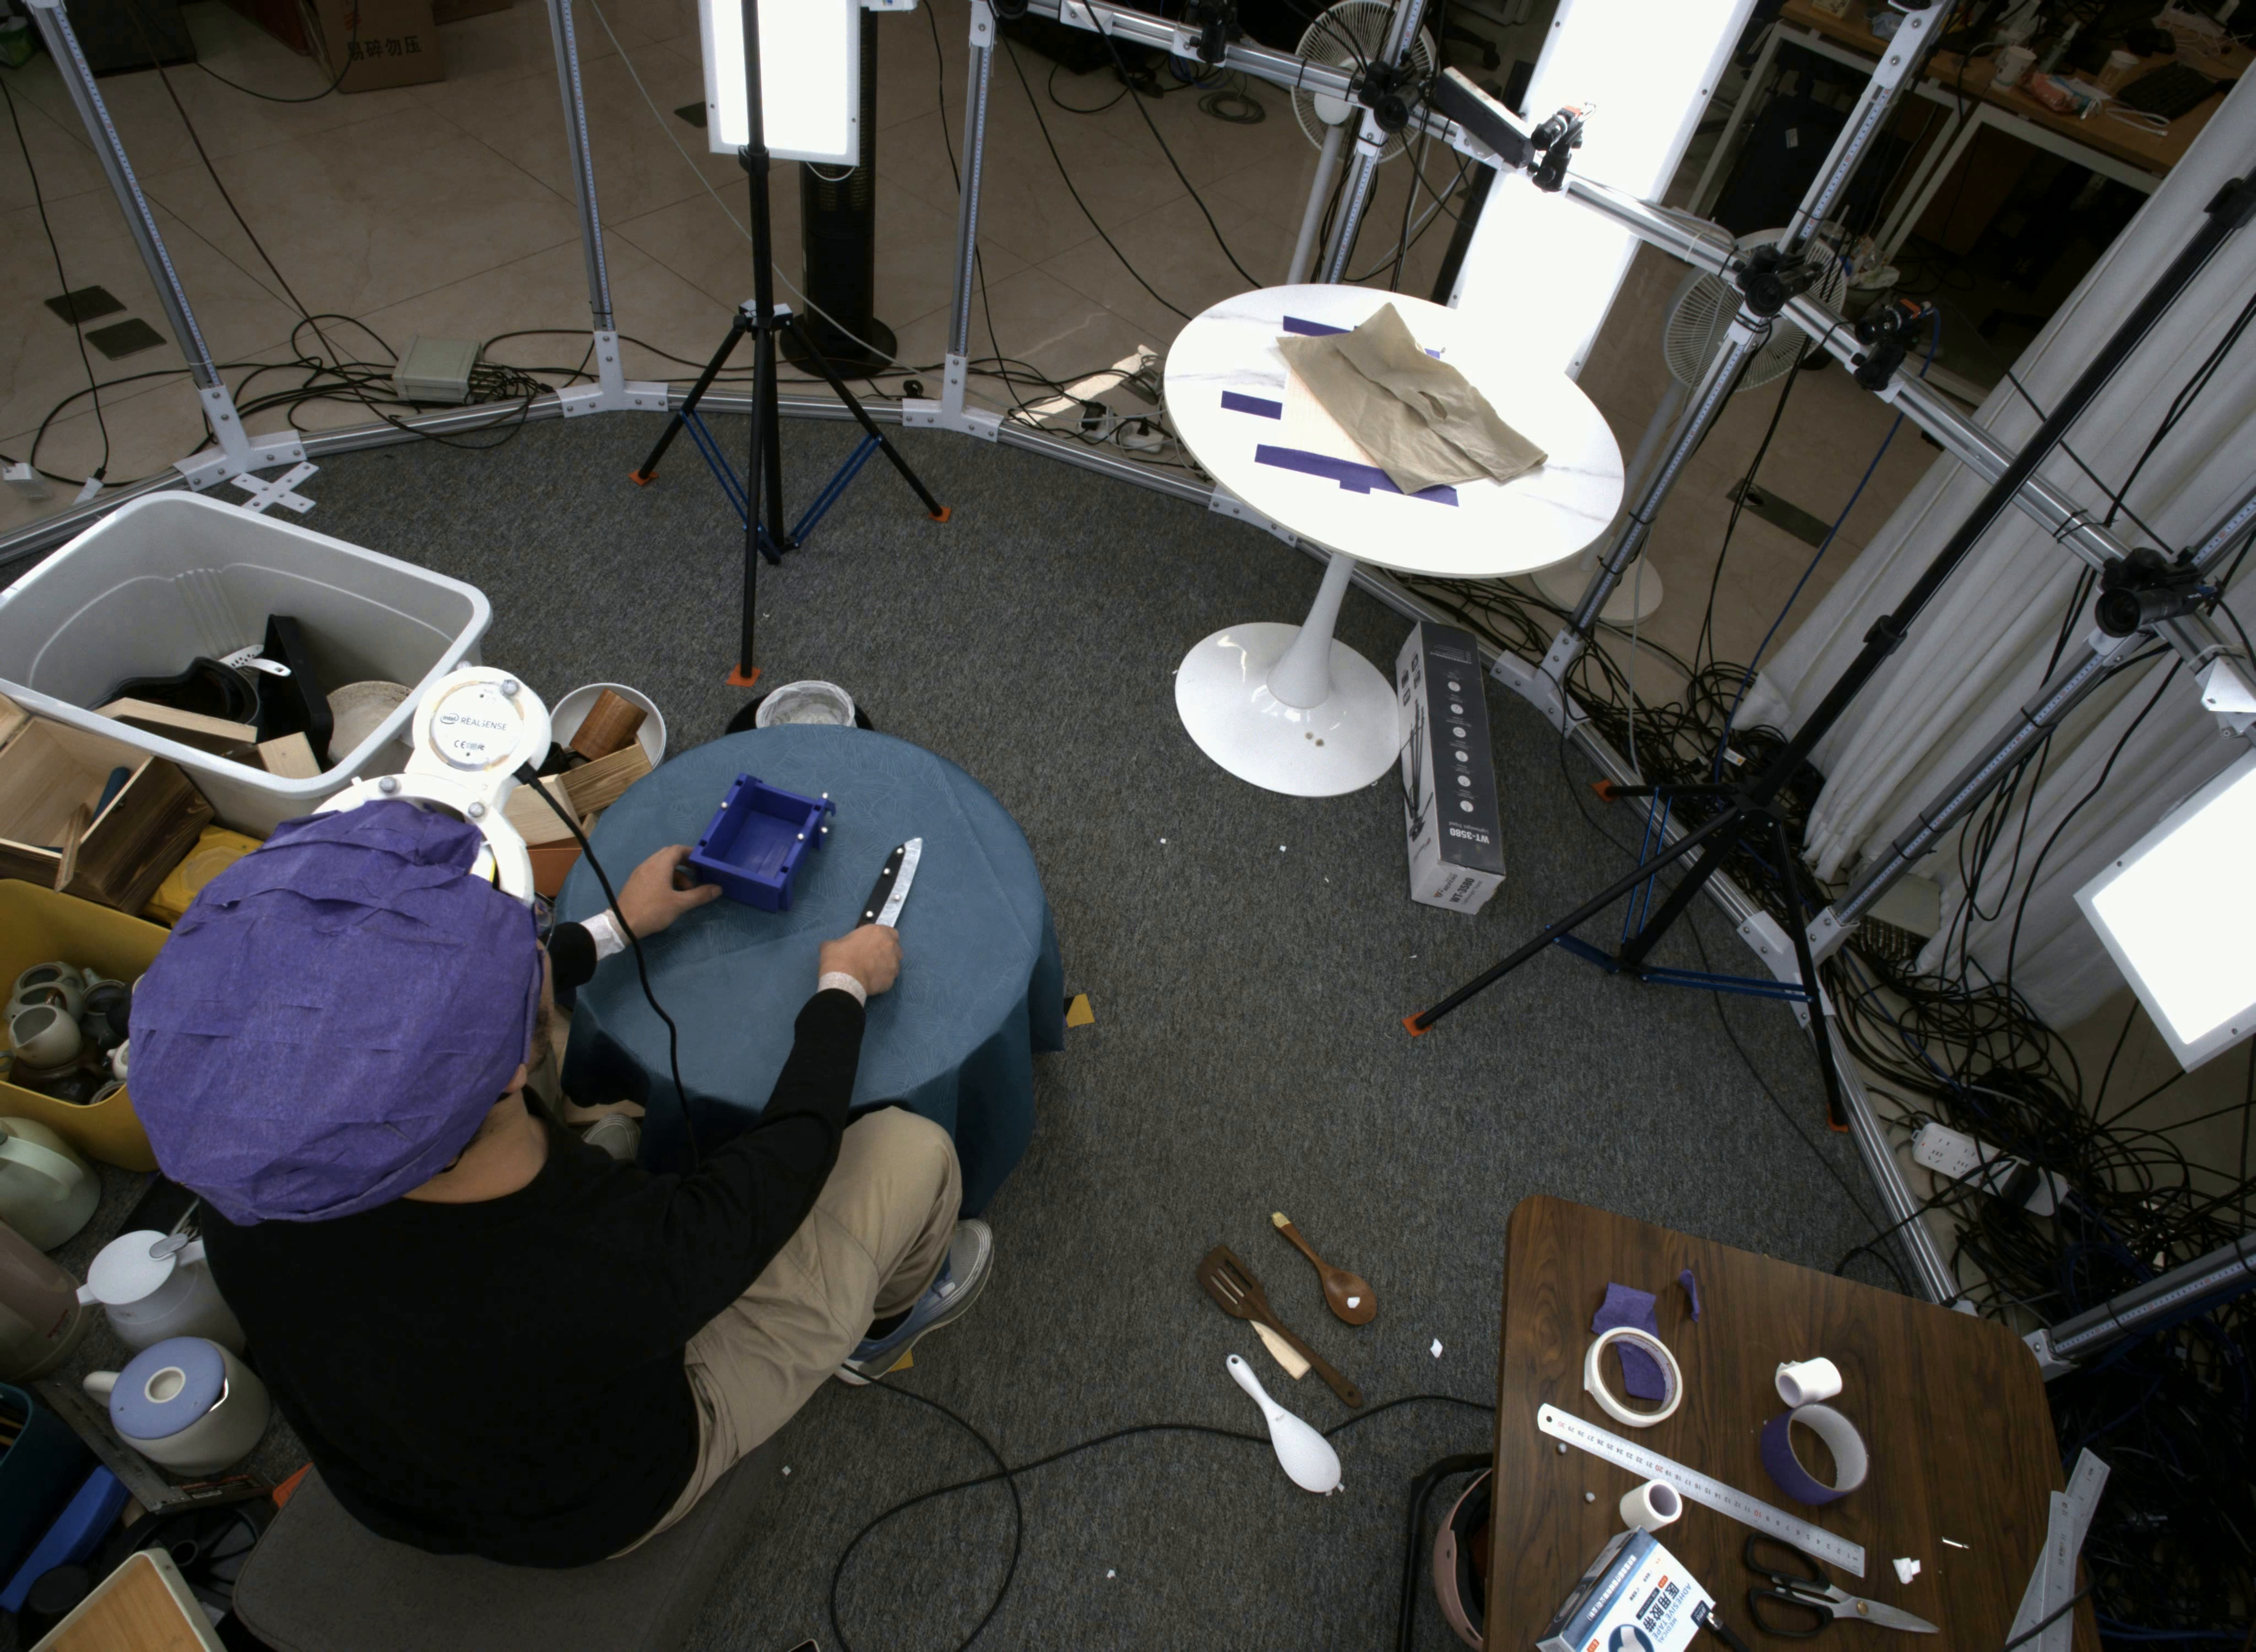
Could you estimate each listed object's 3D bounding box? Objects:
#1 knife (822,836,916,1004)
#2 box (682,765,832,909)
[{"bbox_3d":[-0.324,0.110,1.647,0.050,0.020,0.285,22,47,-2],"label":"knife"},{"bbox_3d":[-0.471,0.006,1.649,0.123,0.083,0.177,18,54,1],"label":"box"}]
